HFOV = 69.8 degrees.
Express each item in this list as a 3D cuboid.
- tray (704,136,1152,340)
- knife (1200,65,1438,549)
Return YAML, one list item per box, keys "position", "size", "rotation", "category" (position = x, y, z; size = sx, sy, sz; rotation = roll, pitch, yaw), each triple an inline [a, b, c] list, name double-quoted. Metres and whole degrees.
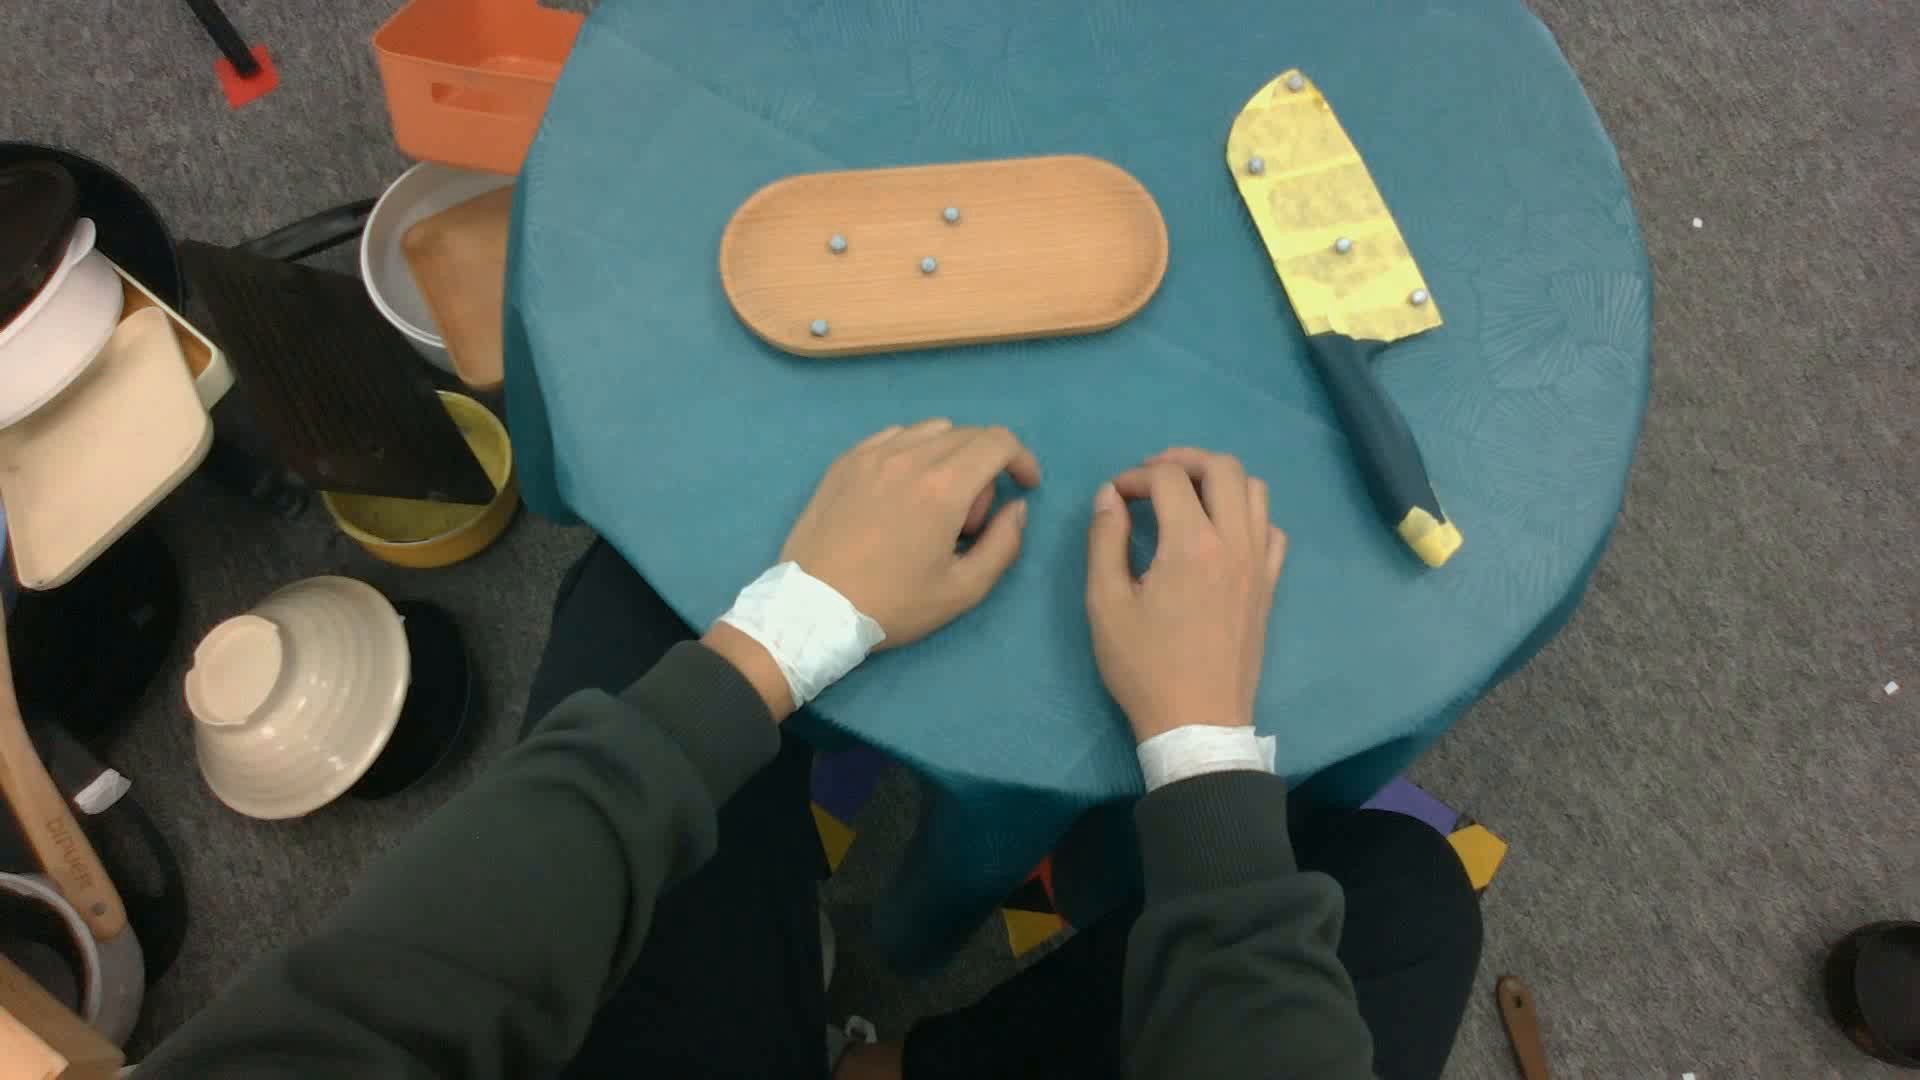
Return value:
- position: [-0.015, -0.156, 0.710]
  size: [0.231, 0.020, 0.102]
  rotation: [-7, 74, -9]
  category: "tray"
- position: [0.197, -0.132, 0.725]
  size: [0.081, 0.027, 0.290]
  rotation: [-14, 73, -8]
  category: "knife"
